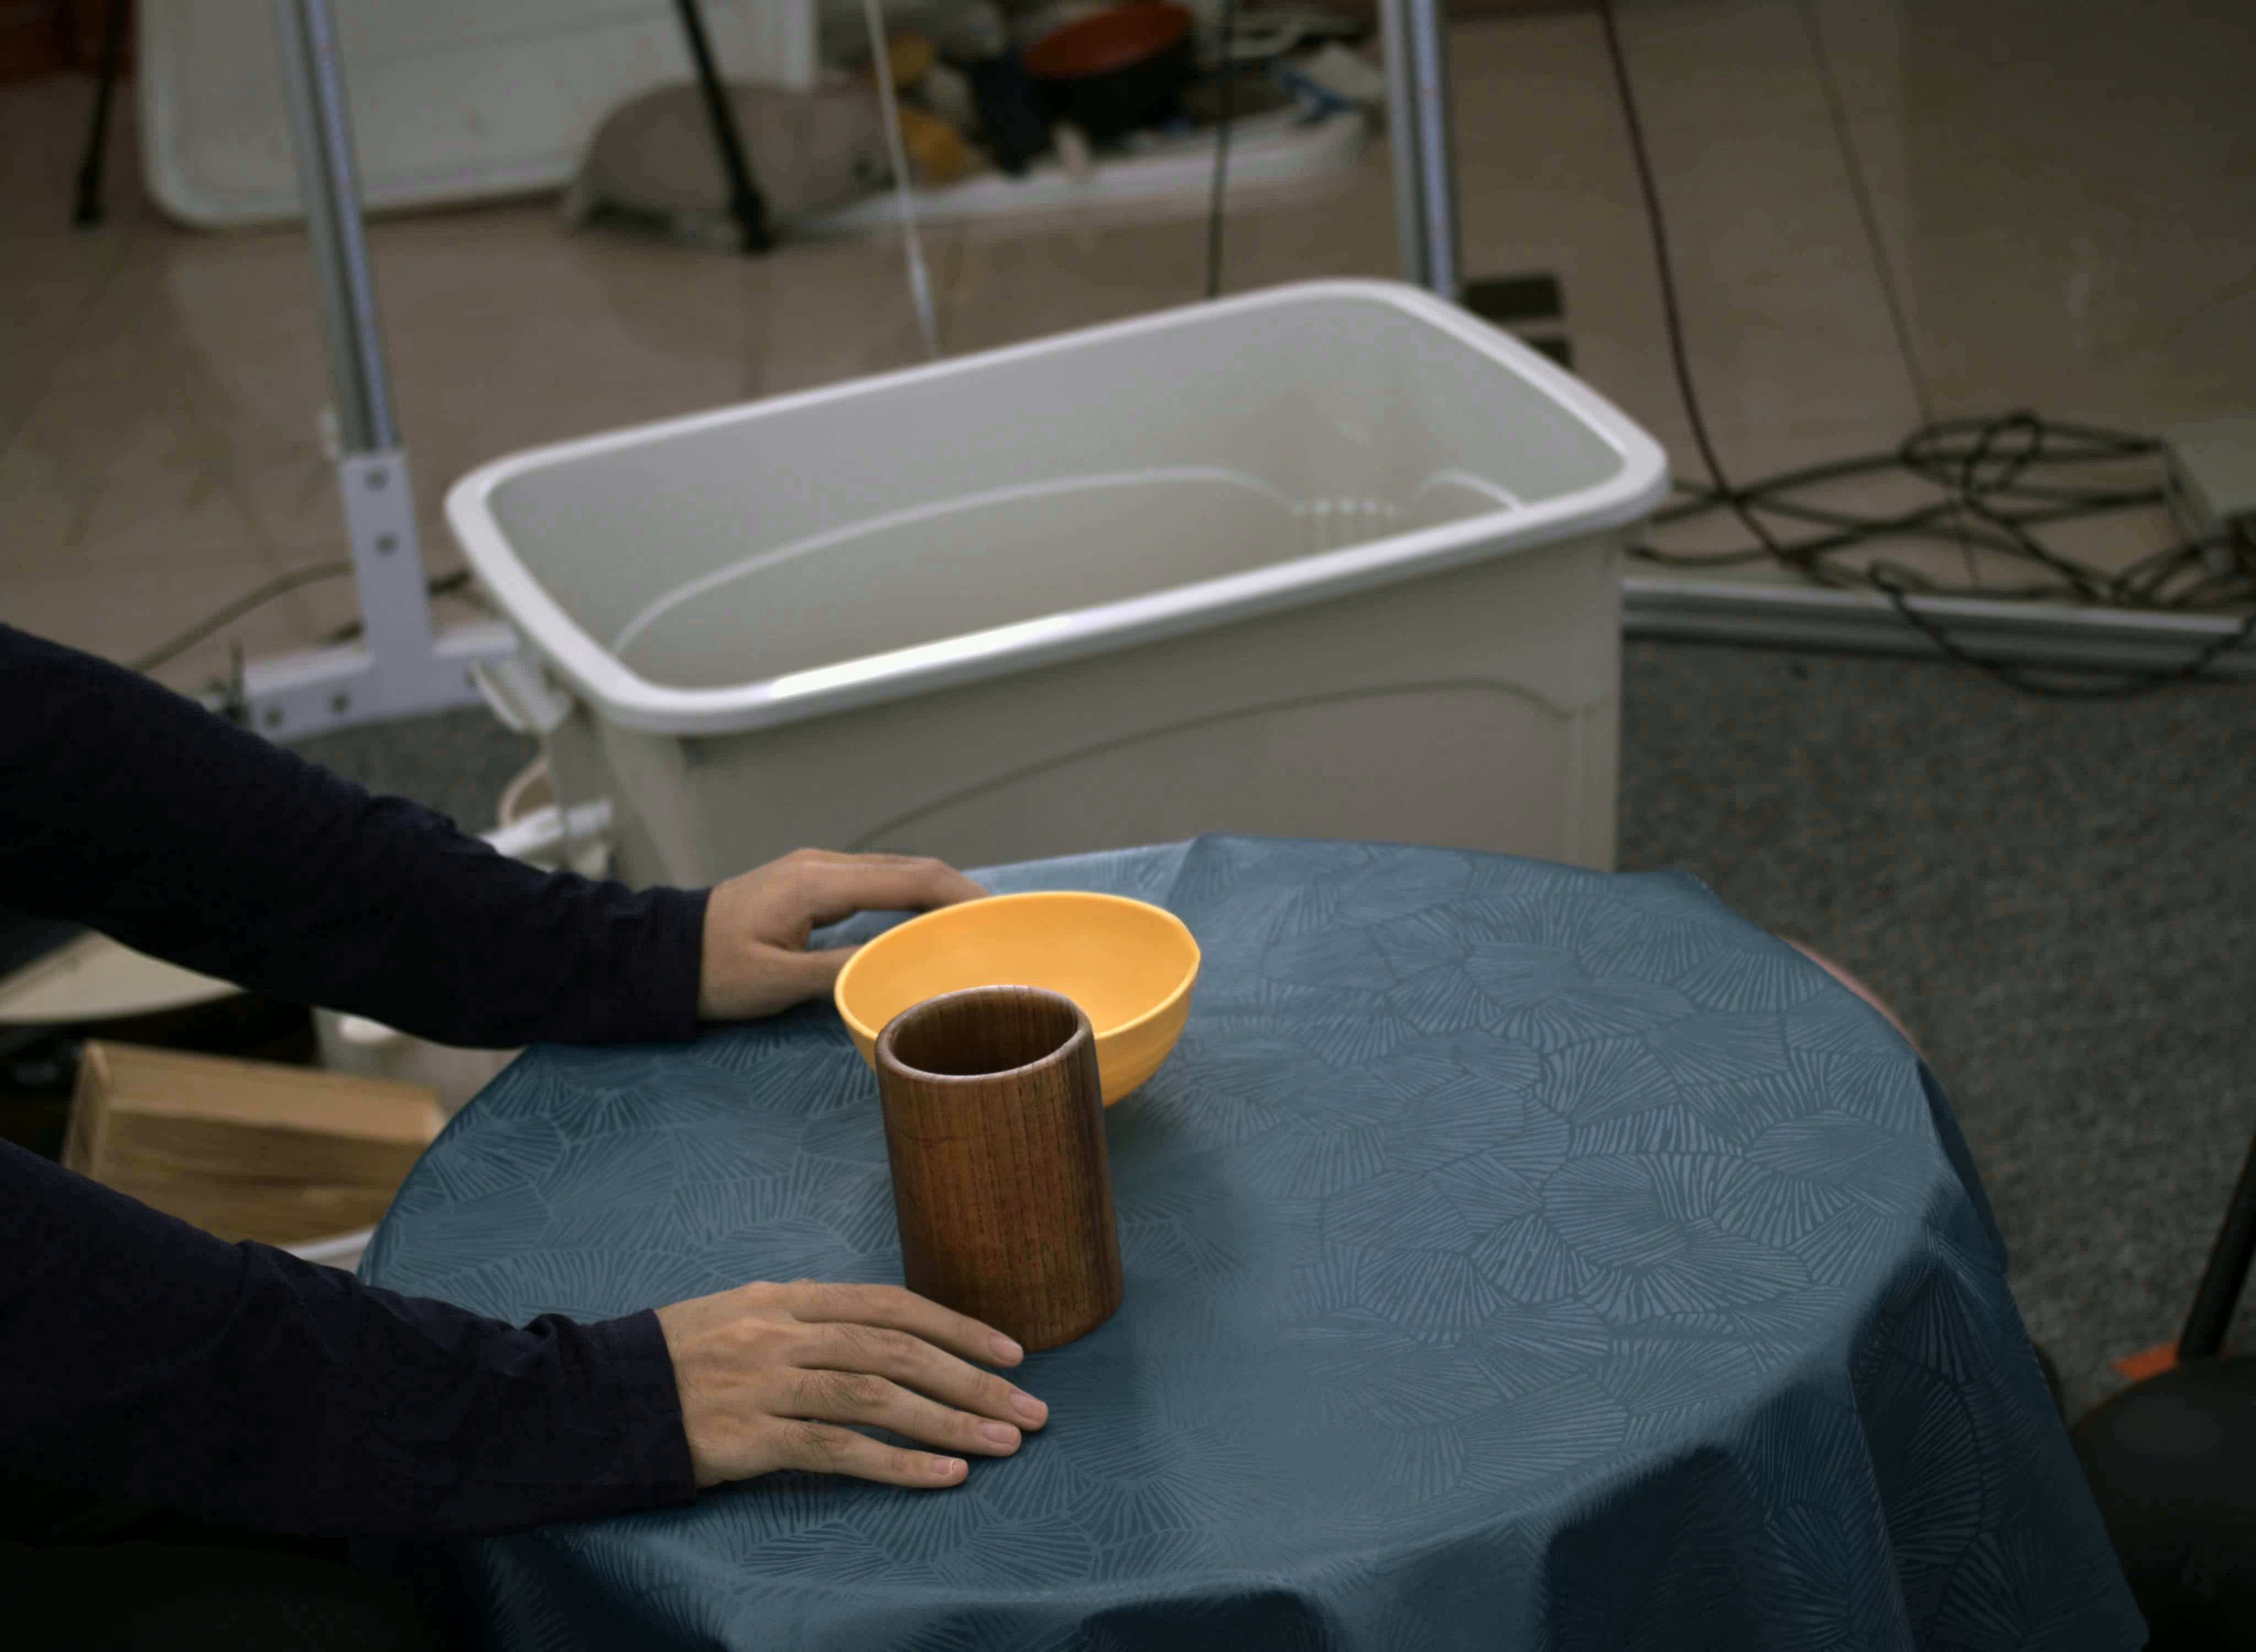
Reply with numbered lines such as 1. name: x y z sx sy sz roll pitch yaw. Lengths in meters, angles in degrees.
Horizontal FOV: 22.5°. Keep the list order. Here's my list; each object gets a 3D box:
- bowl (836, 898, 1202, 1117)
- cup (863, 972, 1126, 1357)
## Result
1. bowl: -0.039 0.083 2.209 0.145 0.061 0.143 -7 24 3
2. cup: -0.047 0.123 2.053 0.087 0.120 0.086 -6 24 3
